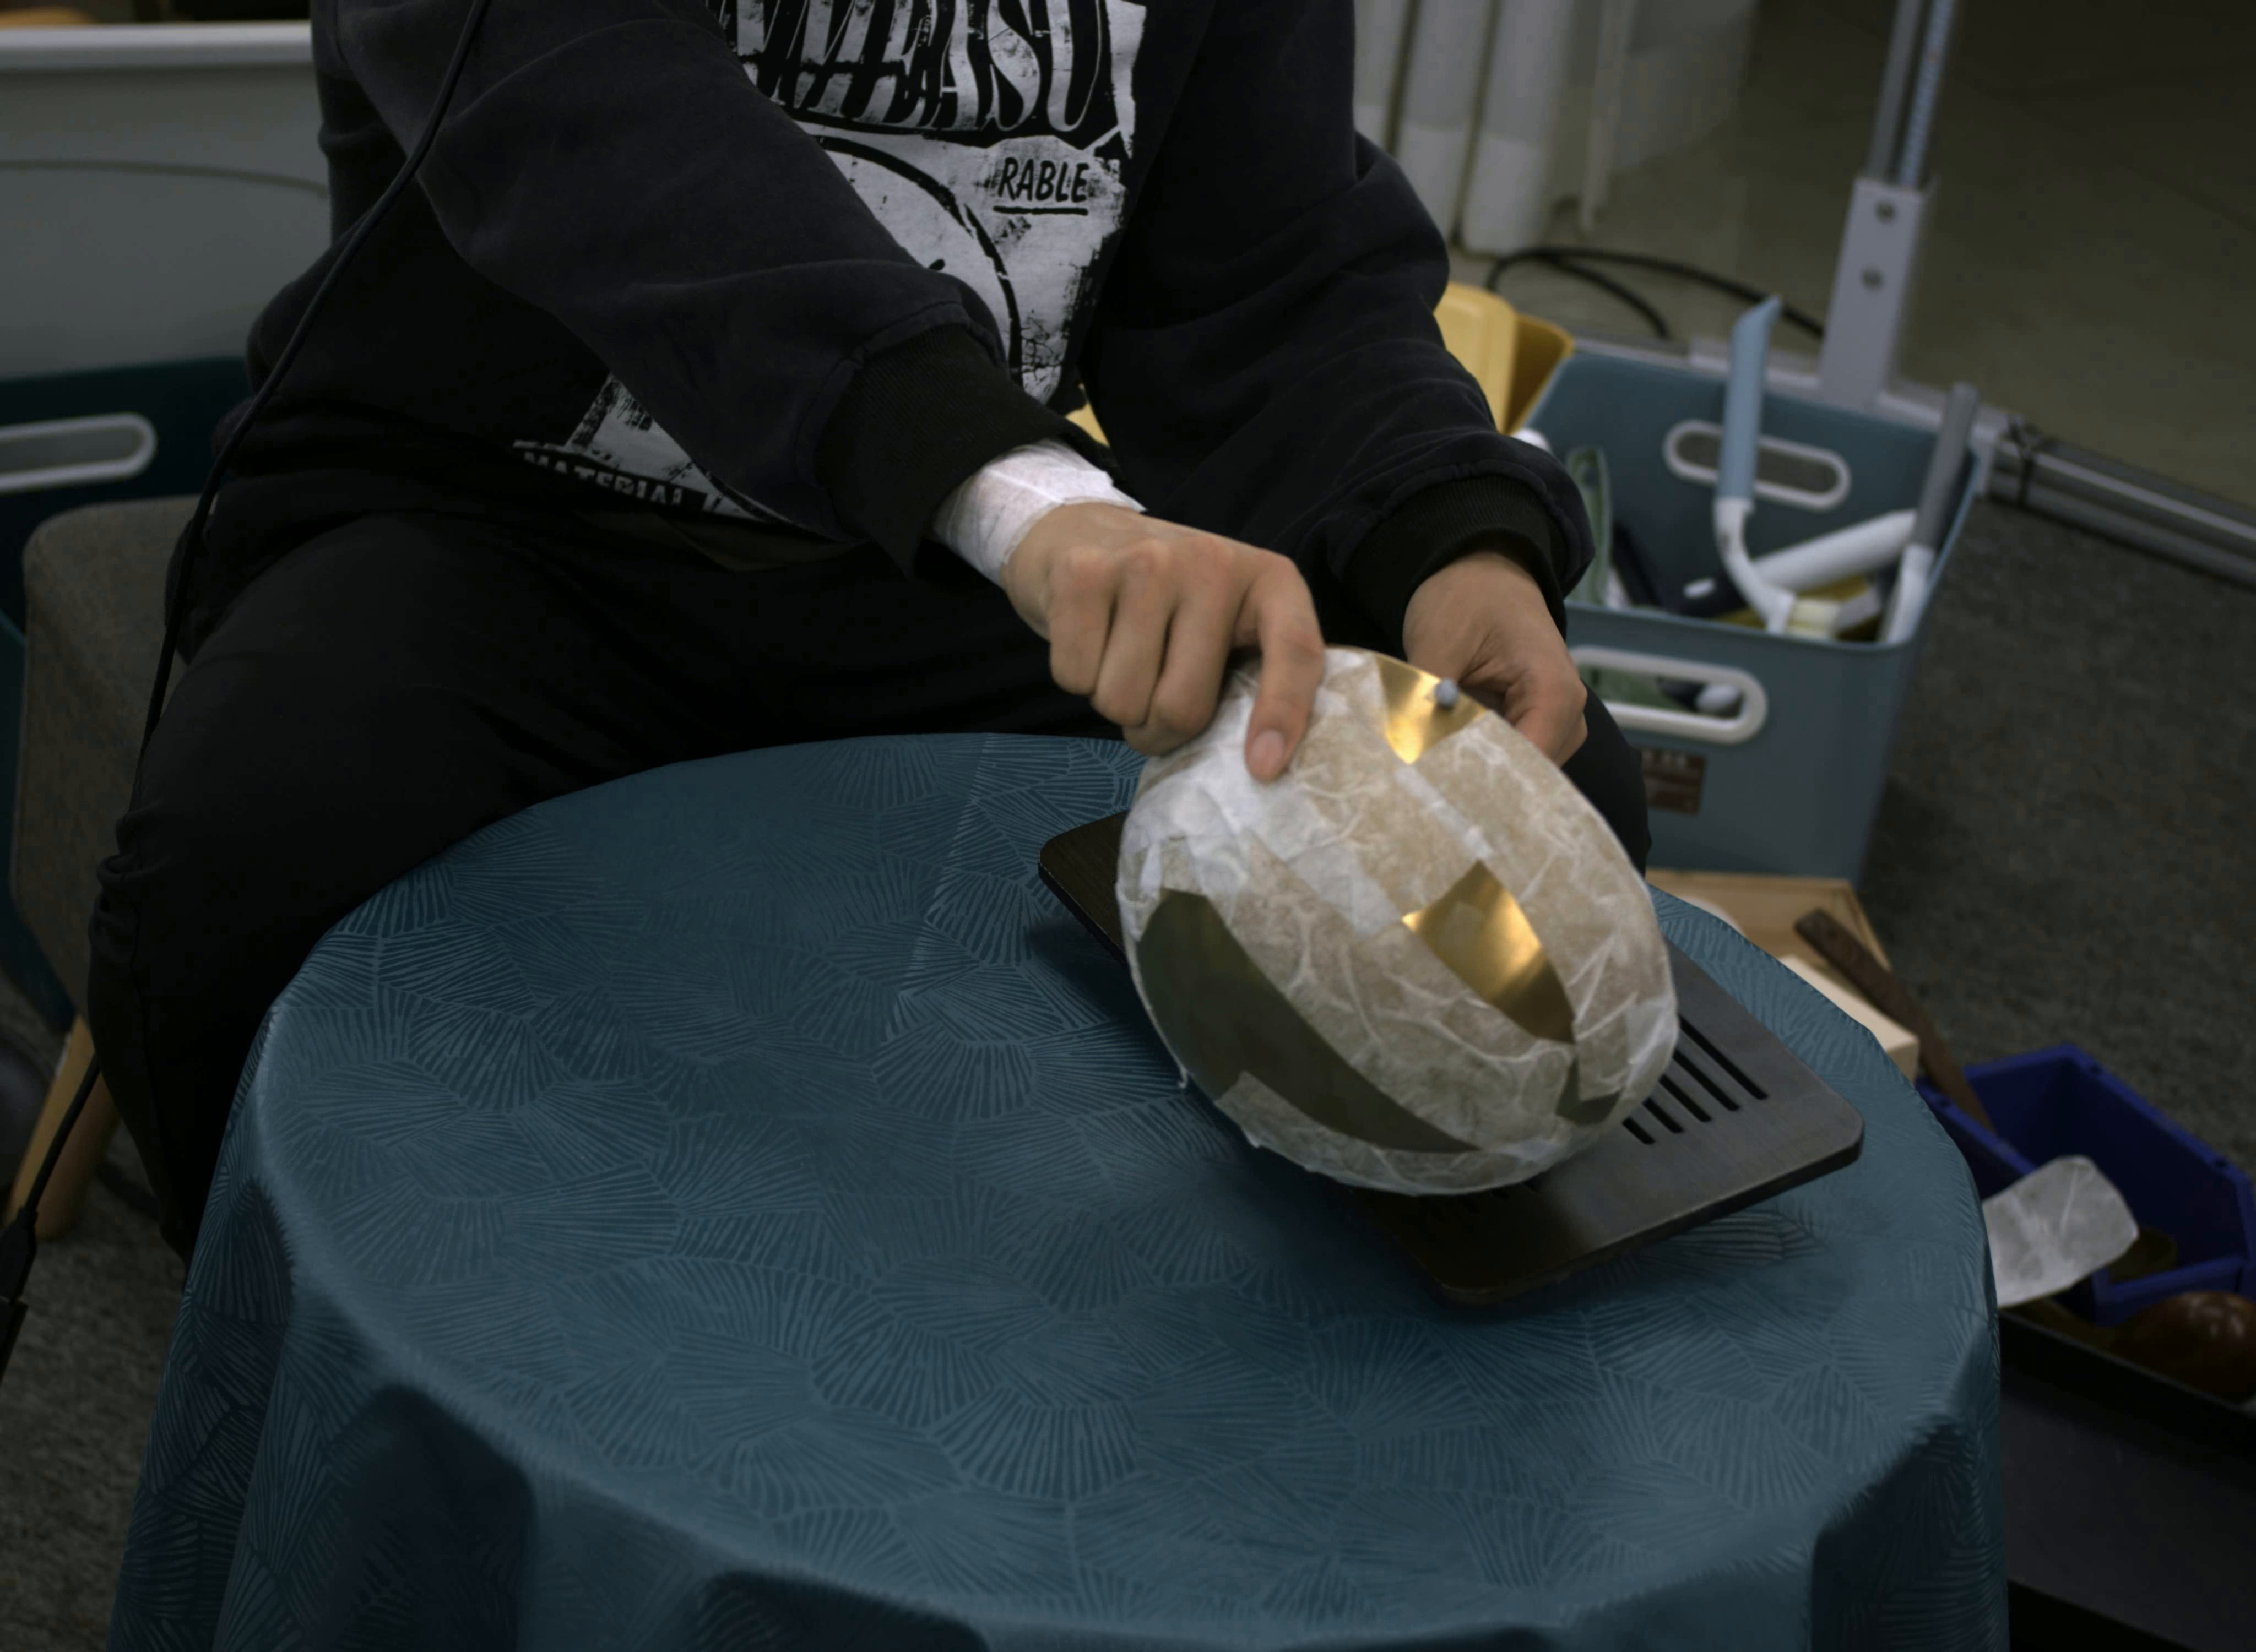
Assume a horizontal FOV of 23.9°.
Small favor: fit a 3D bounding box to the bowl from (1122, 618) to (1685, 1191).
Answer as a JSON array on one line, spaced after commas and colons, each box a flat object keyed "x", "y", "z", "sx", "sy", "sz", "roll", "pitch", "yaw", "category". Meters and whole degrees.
[{"x": 0.070, "y": 0.046, "z": 1.731, "sx": 0.216, "sy": 0.213, "sz": 0.094, "roll": 24, "pitch": 50, "yaw": 30, "category": "bowl"}]

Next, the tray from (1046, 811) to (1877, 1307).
[{"x": 0.112, "y": 0.062, "z": 1.880, "sx": 0.169, "sy": 0.018, "sz": 0.309, "roll": -19, "pitch": 37, "yaw": -22, "category": "tray"}]
